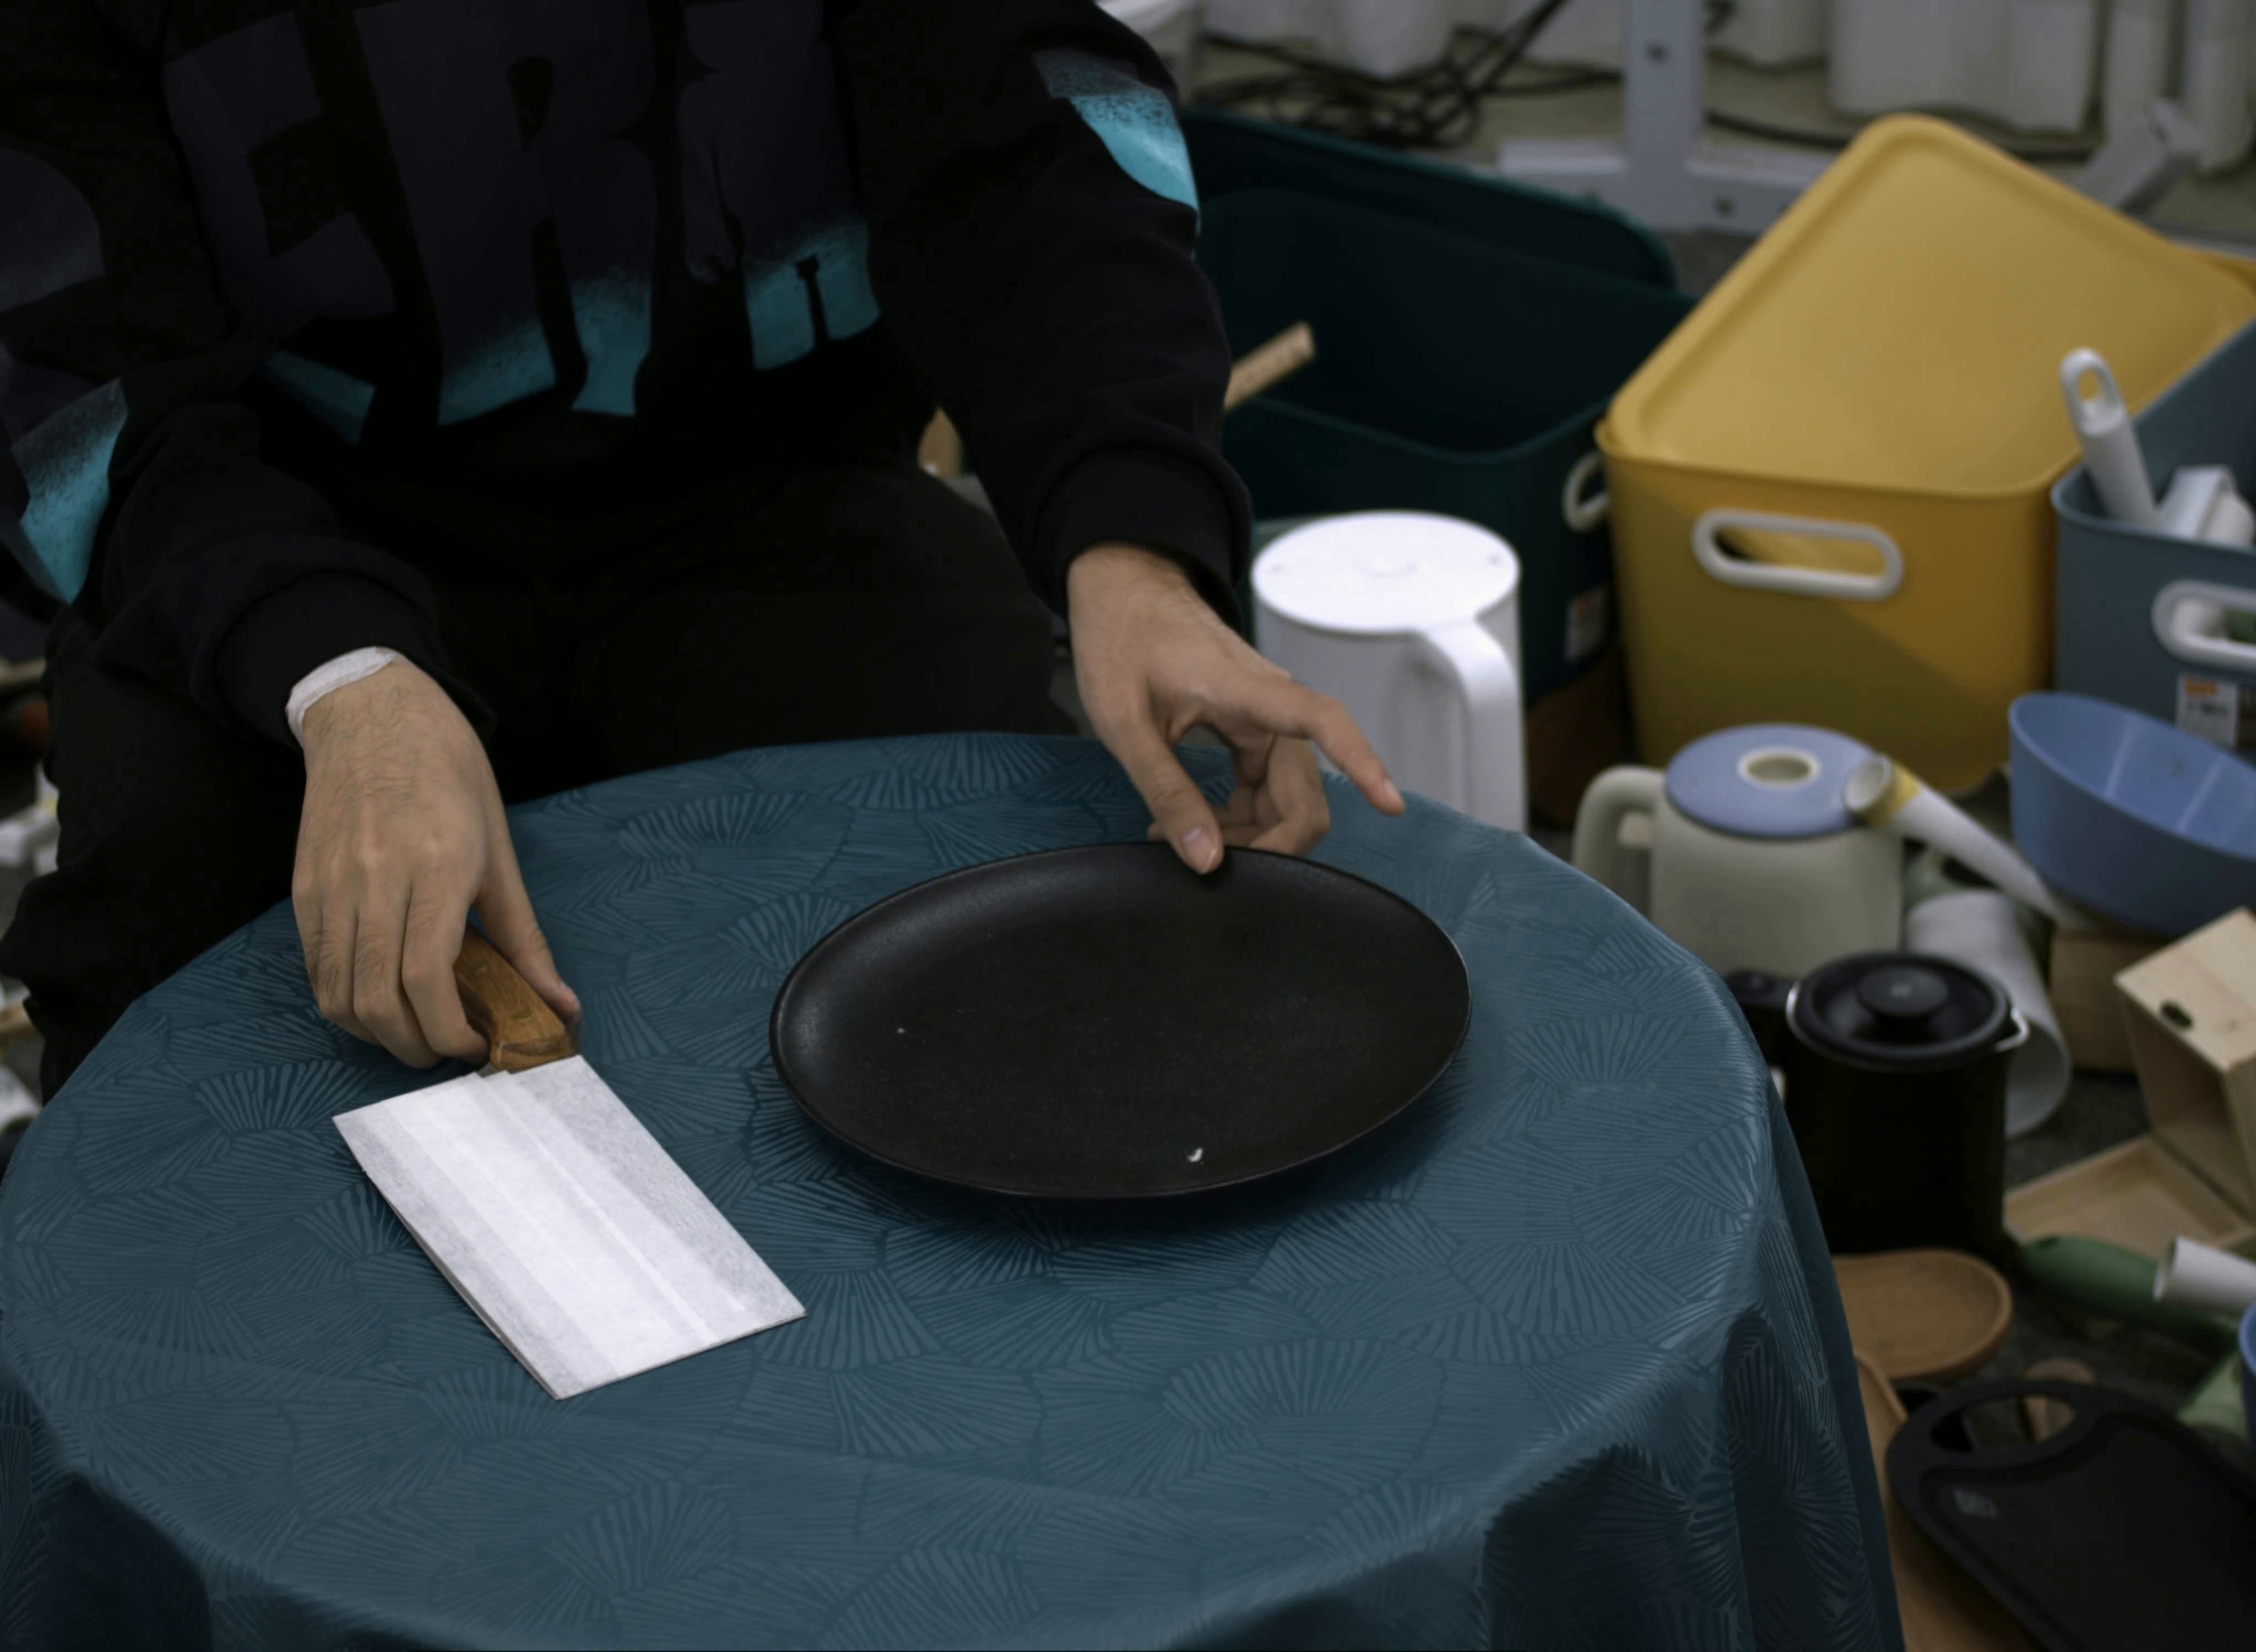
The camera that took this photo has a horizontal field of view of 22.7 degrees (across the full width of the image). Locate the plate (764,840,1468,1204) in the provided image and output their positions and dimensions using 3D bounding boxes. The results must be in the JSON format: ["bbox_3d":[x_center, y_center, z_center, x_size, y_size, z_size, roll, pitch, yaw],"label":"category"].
[{"bbox_3d":[-0.004,0.072,1.933,0.243,0.023,0.248,-2,28,2],"label":"plate"}]

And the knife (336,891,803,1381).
[{"bbox_3d":[-0.213,0.104,1.900,0.093,0.021,0.307,-17,33,-24],"label":"knife"}]
